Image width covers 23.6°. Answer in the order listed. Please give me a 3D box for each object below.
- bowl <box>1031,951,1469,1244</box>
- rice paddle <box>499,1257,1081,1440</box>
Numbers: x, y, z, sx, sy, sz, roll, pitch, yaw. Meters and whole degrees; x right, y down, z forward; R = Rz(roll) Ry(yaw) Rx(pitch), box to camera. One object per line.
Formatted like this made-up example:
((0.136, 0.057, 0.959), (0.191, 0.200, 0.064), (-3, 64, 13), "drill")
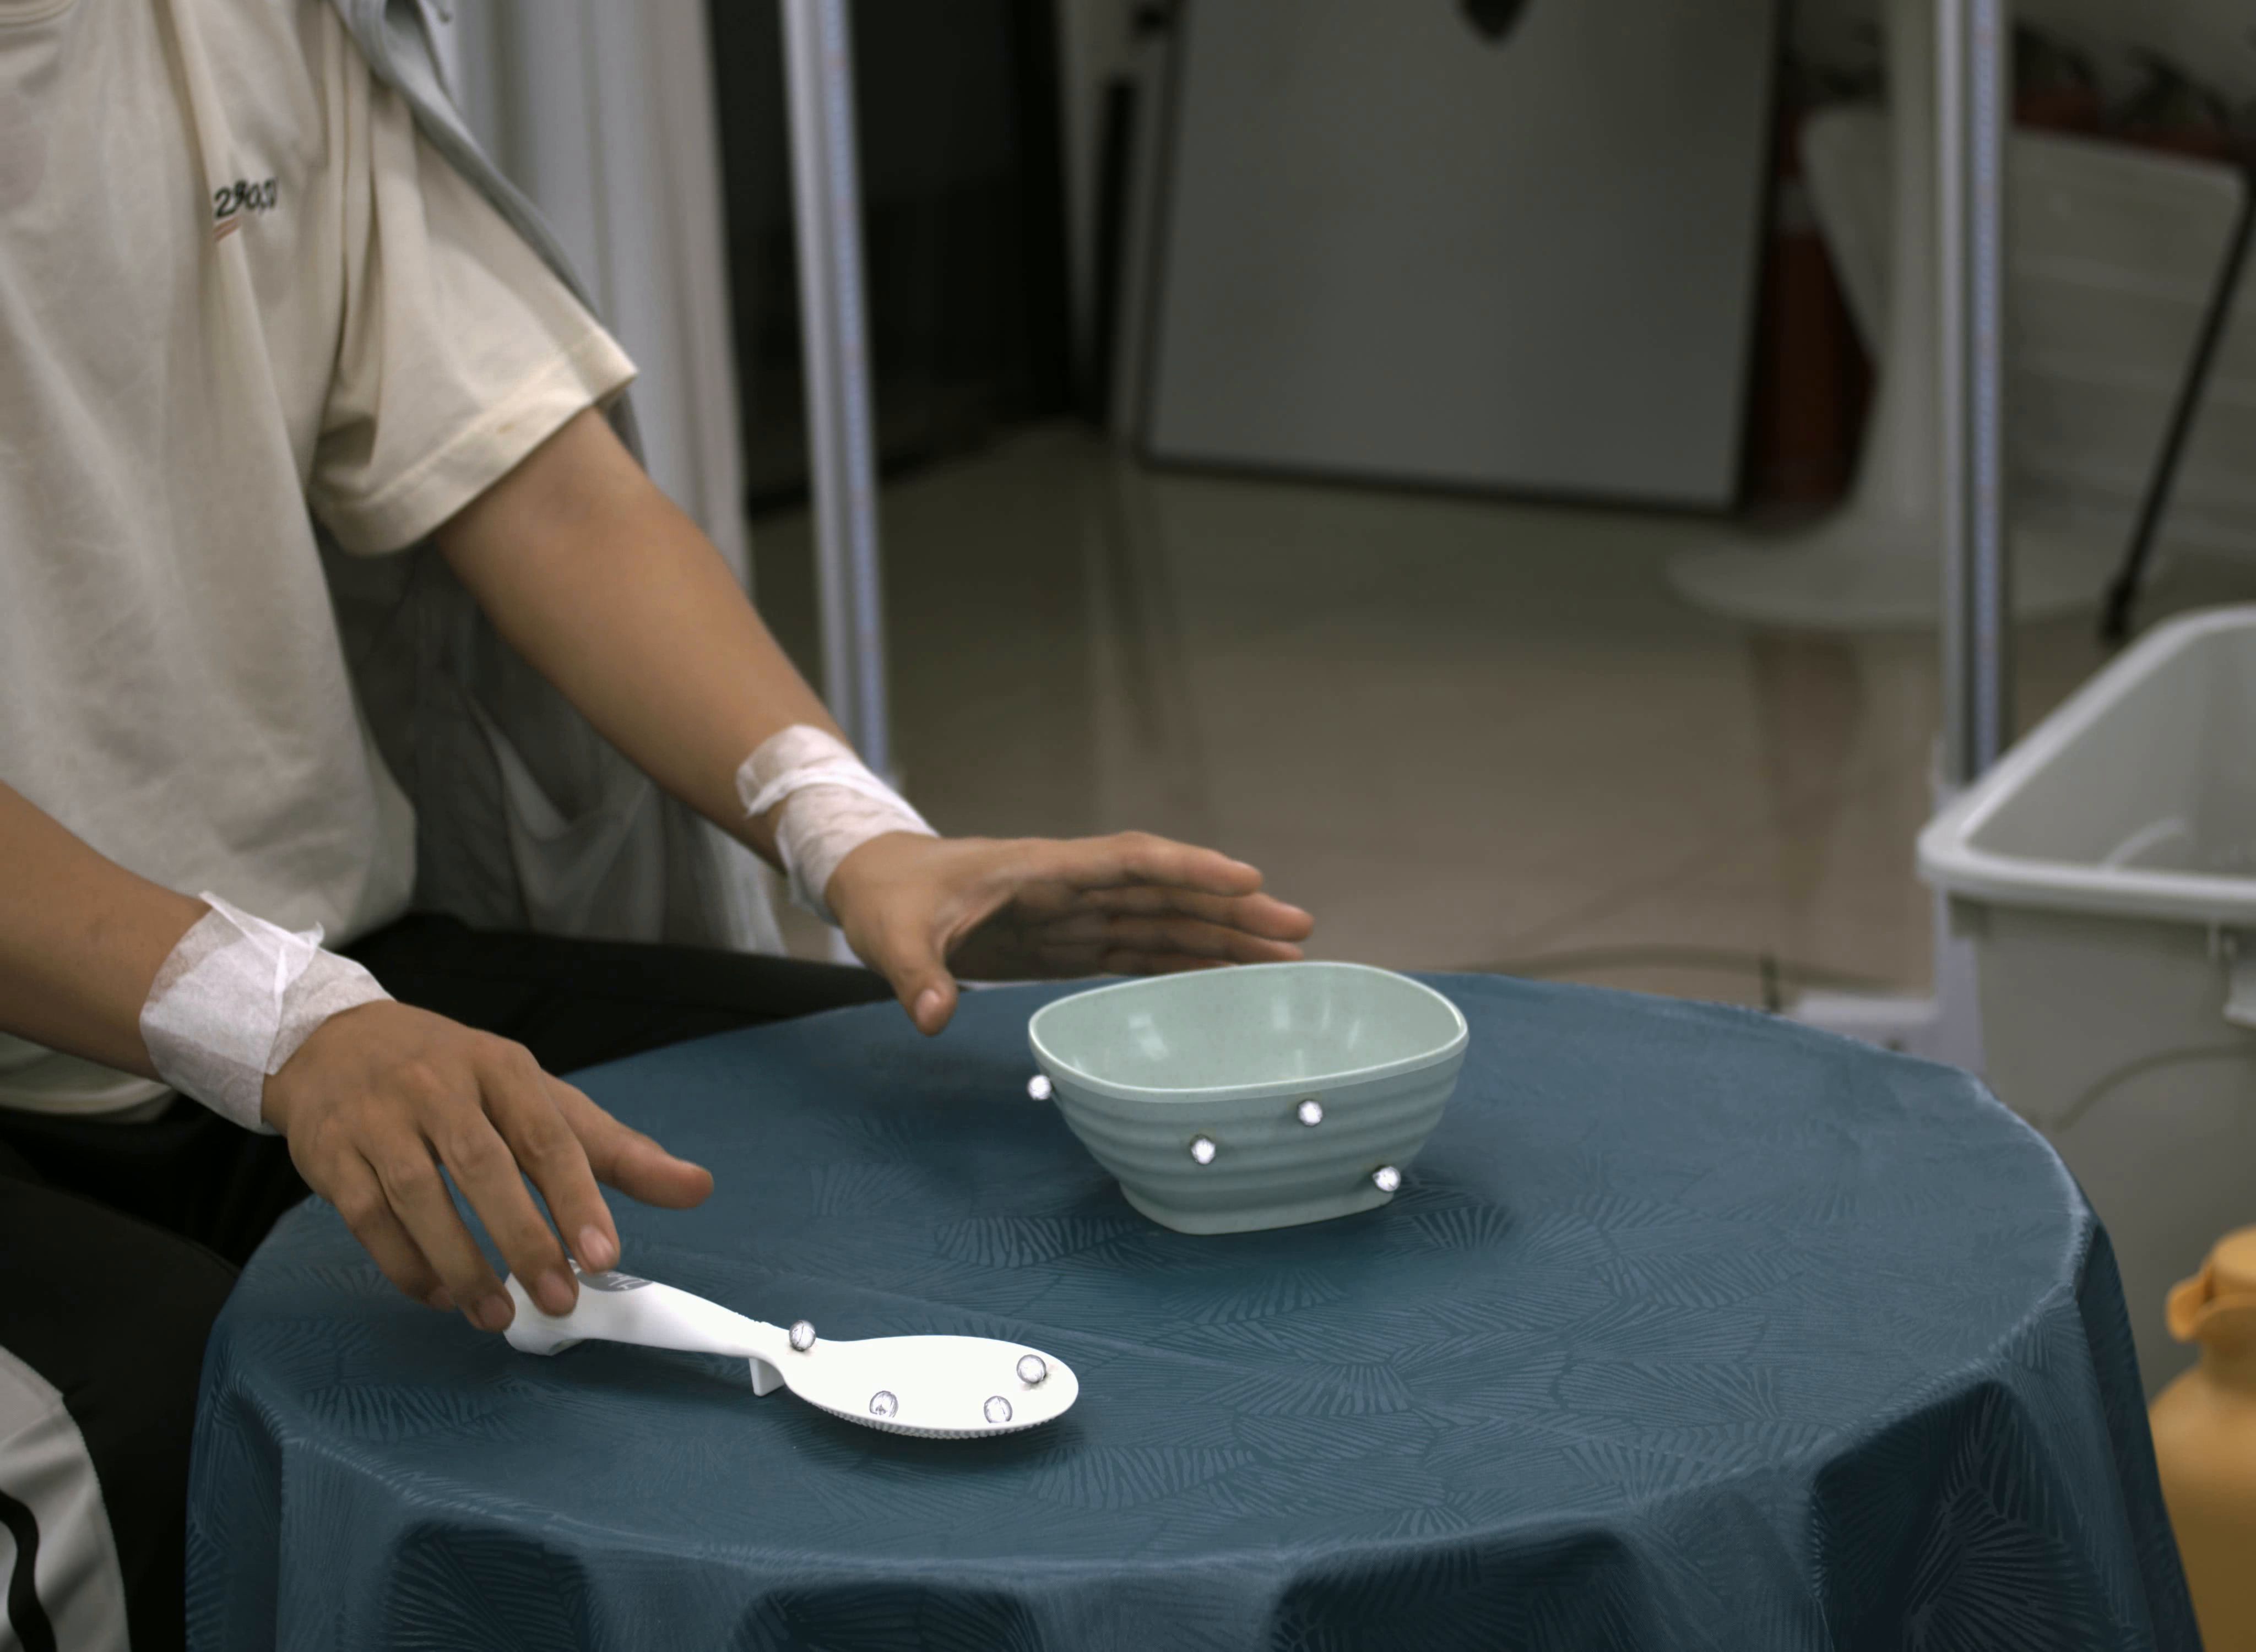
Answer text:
((0.041, 0.092, 1.760), (0.149, 0.059, 0.152), (-4, 17, 0), "bowl")
((-0.101, 0.156, 1.601), (0.206, 0.030, 0.067), (6, 18, 36), "rice paddle")
